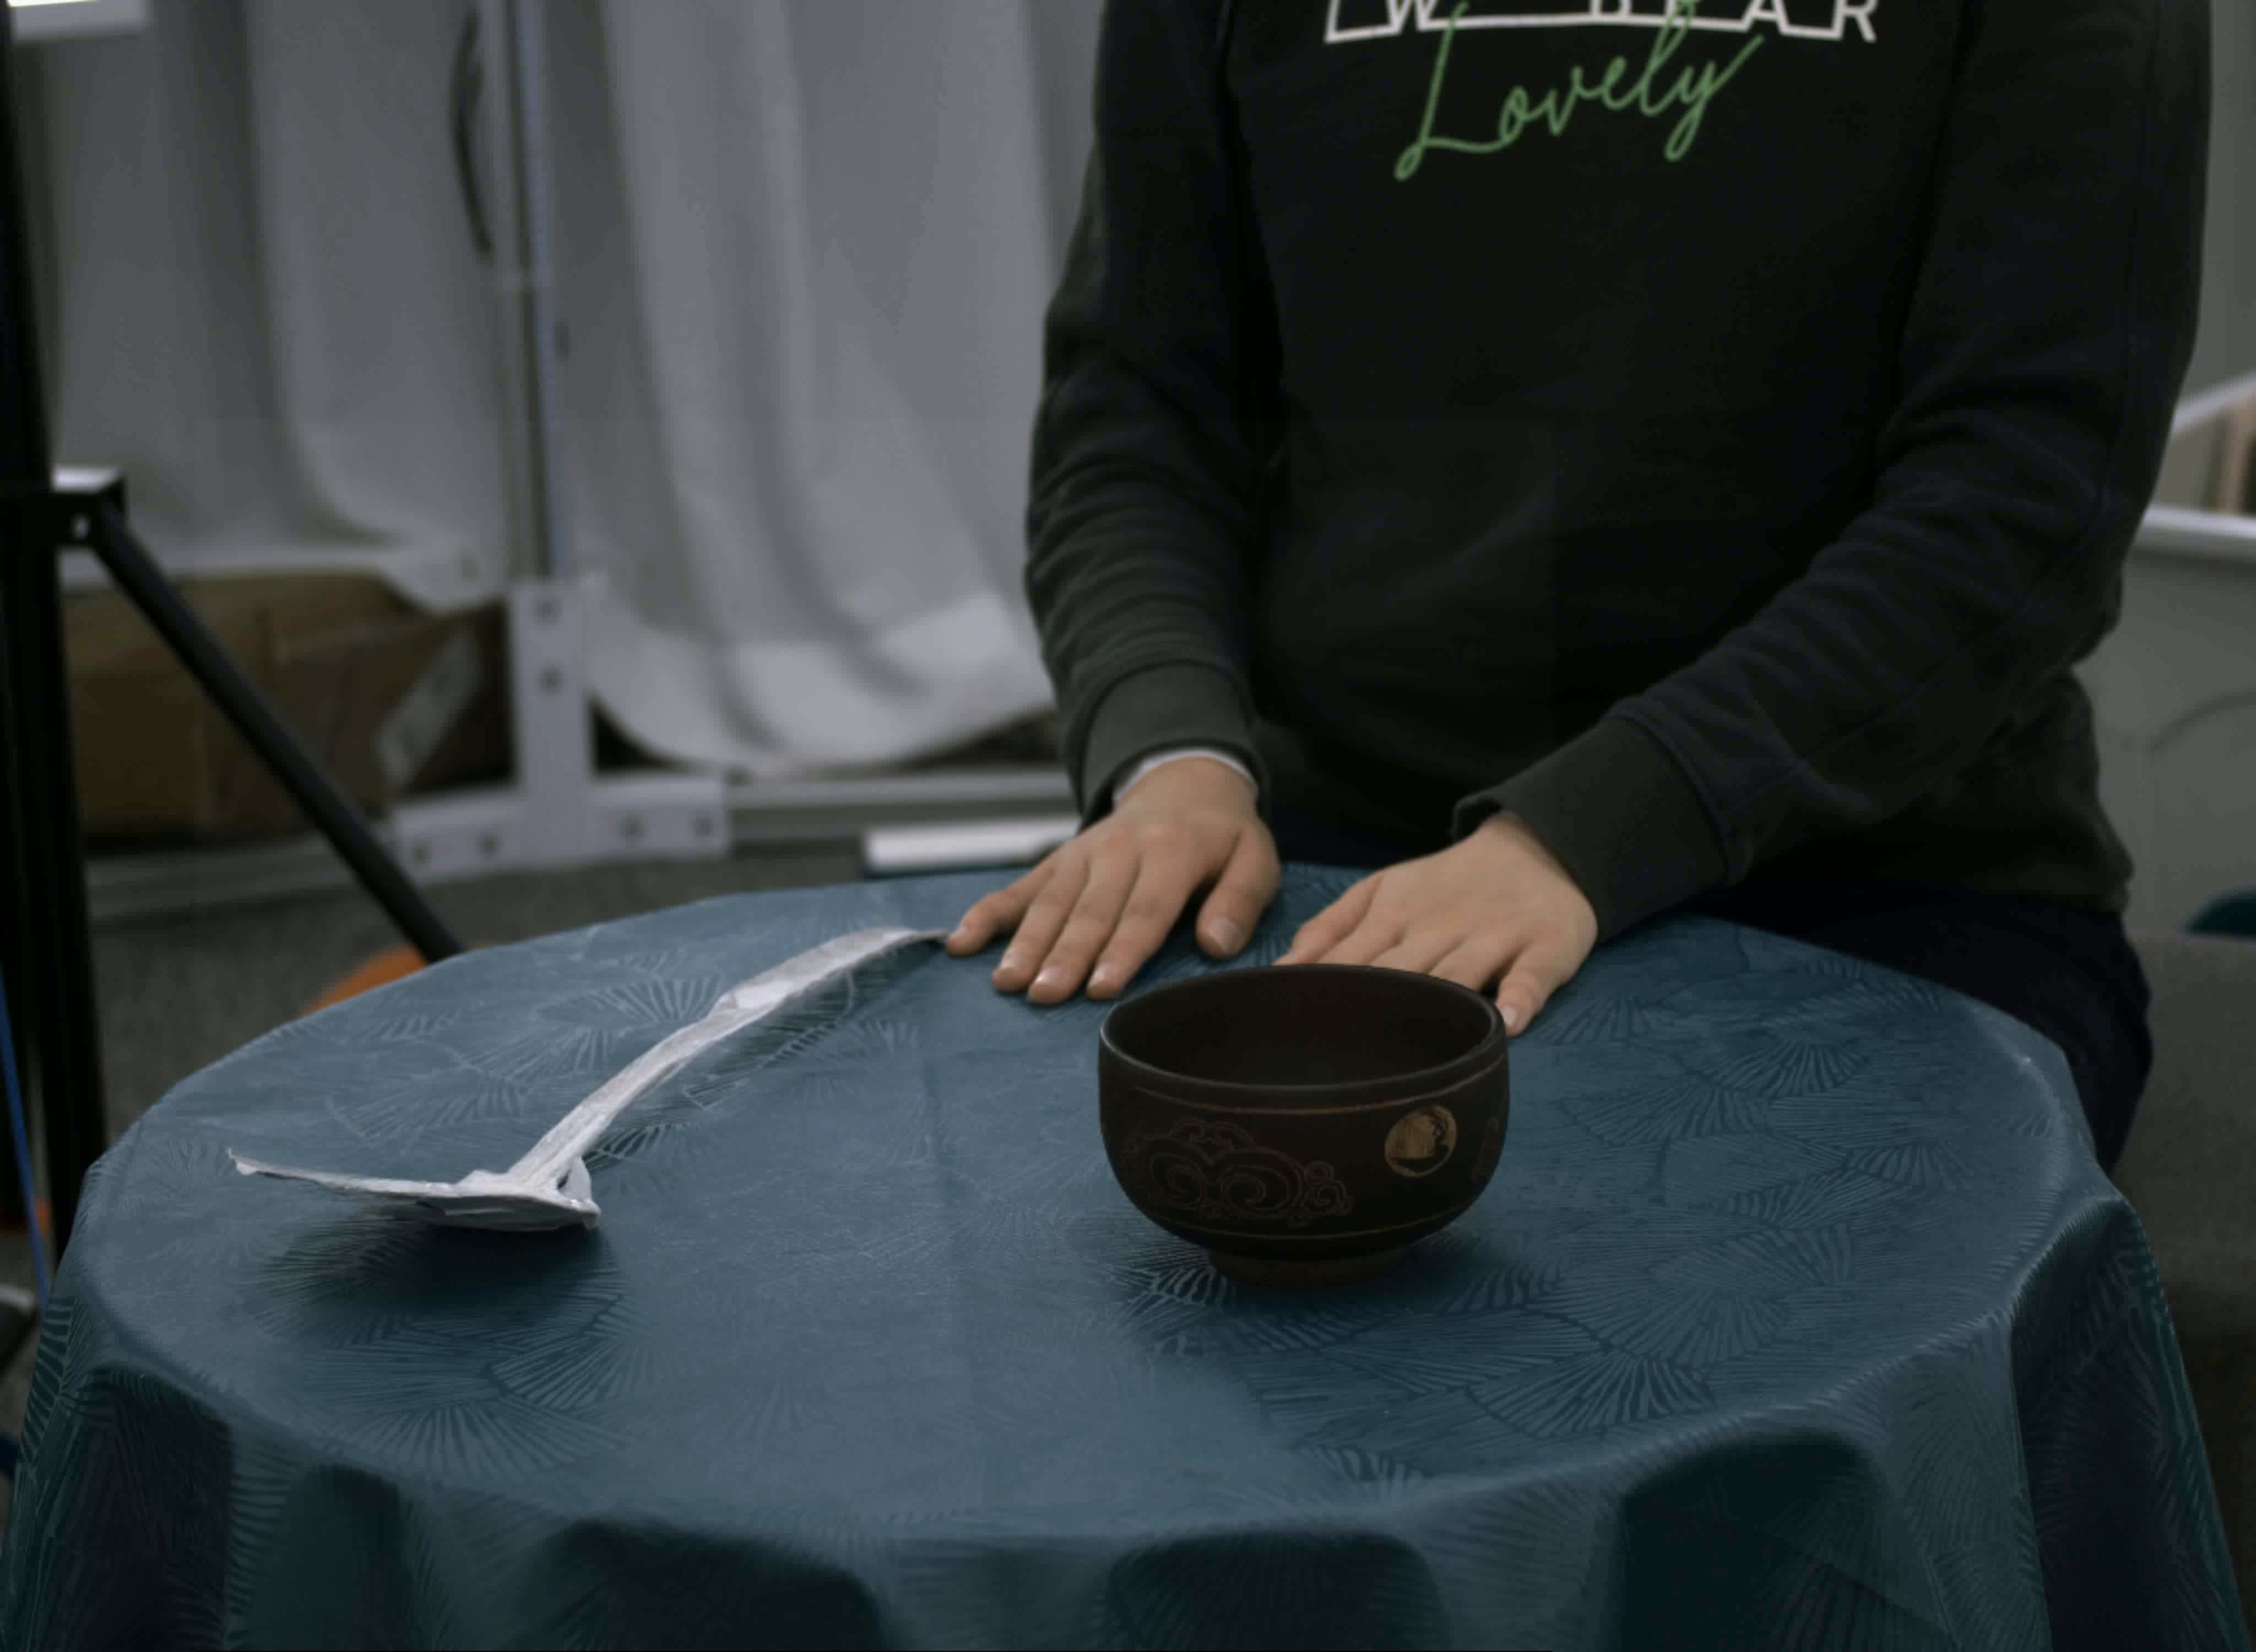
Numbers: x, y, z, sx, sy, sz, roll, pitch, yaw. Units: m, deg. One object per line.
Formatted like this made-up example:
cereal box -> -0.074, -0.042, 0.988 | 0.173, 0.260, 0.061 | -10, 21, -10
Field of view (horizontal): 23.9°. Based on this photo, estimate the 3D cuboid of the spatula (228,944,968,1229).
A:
spatula -> -0.142, 0.070, 1.644 | 0.100, 0.045, 0.359 | 3, 17, 26

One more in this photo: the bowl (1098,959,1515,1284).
bowl -> 0.050, 0.087, 1.492 | 0.117, 0.070, 0.118 | -1, 15, -1
